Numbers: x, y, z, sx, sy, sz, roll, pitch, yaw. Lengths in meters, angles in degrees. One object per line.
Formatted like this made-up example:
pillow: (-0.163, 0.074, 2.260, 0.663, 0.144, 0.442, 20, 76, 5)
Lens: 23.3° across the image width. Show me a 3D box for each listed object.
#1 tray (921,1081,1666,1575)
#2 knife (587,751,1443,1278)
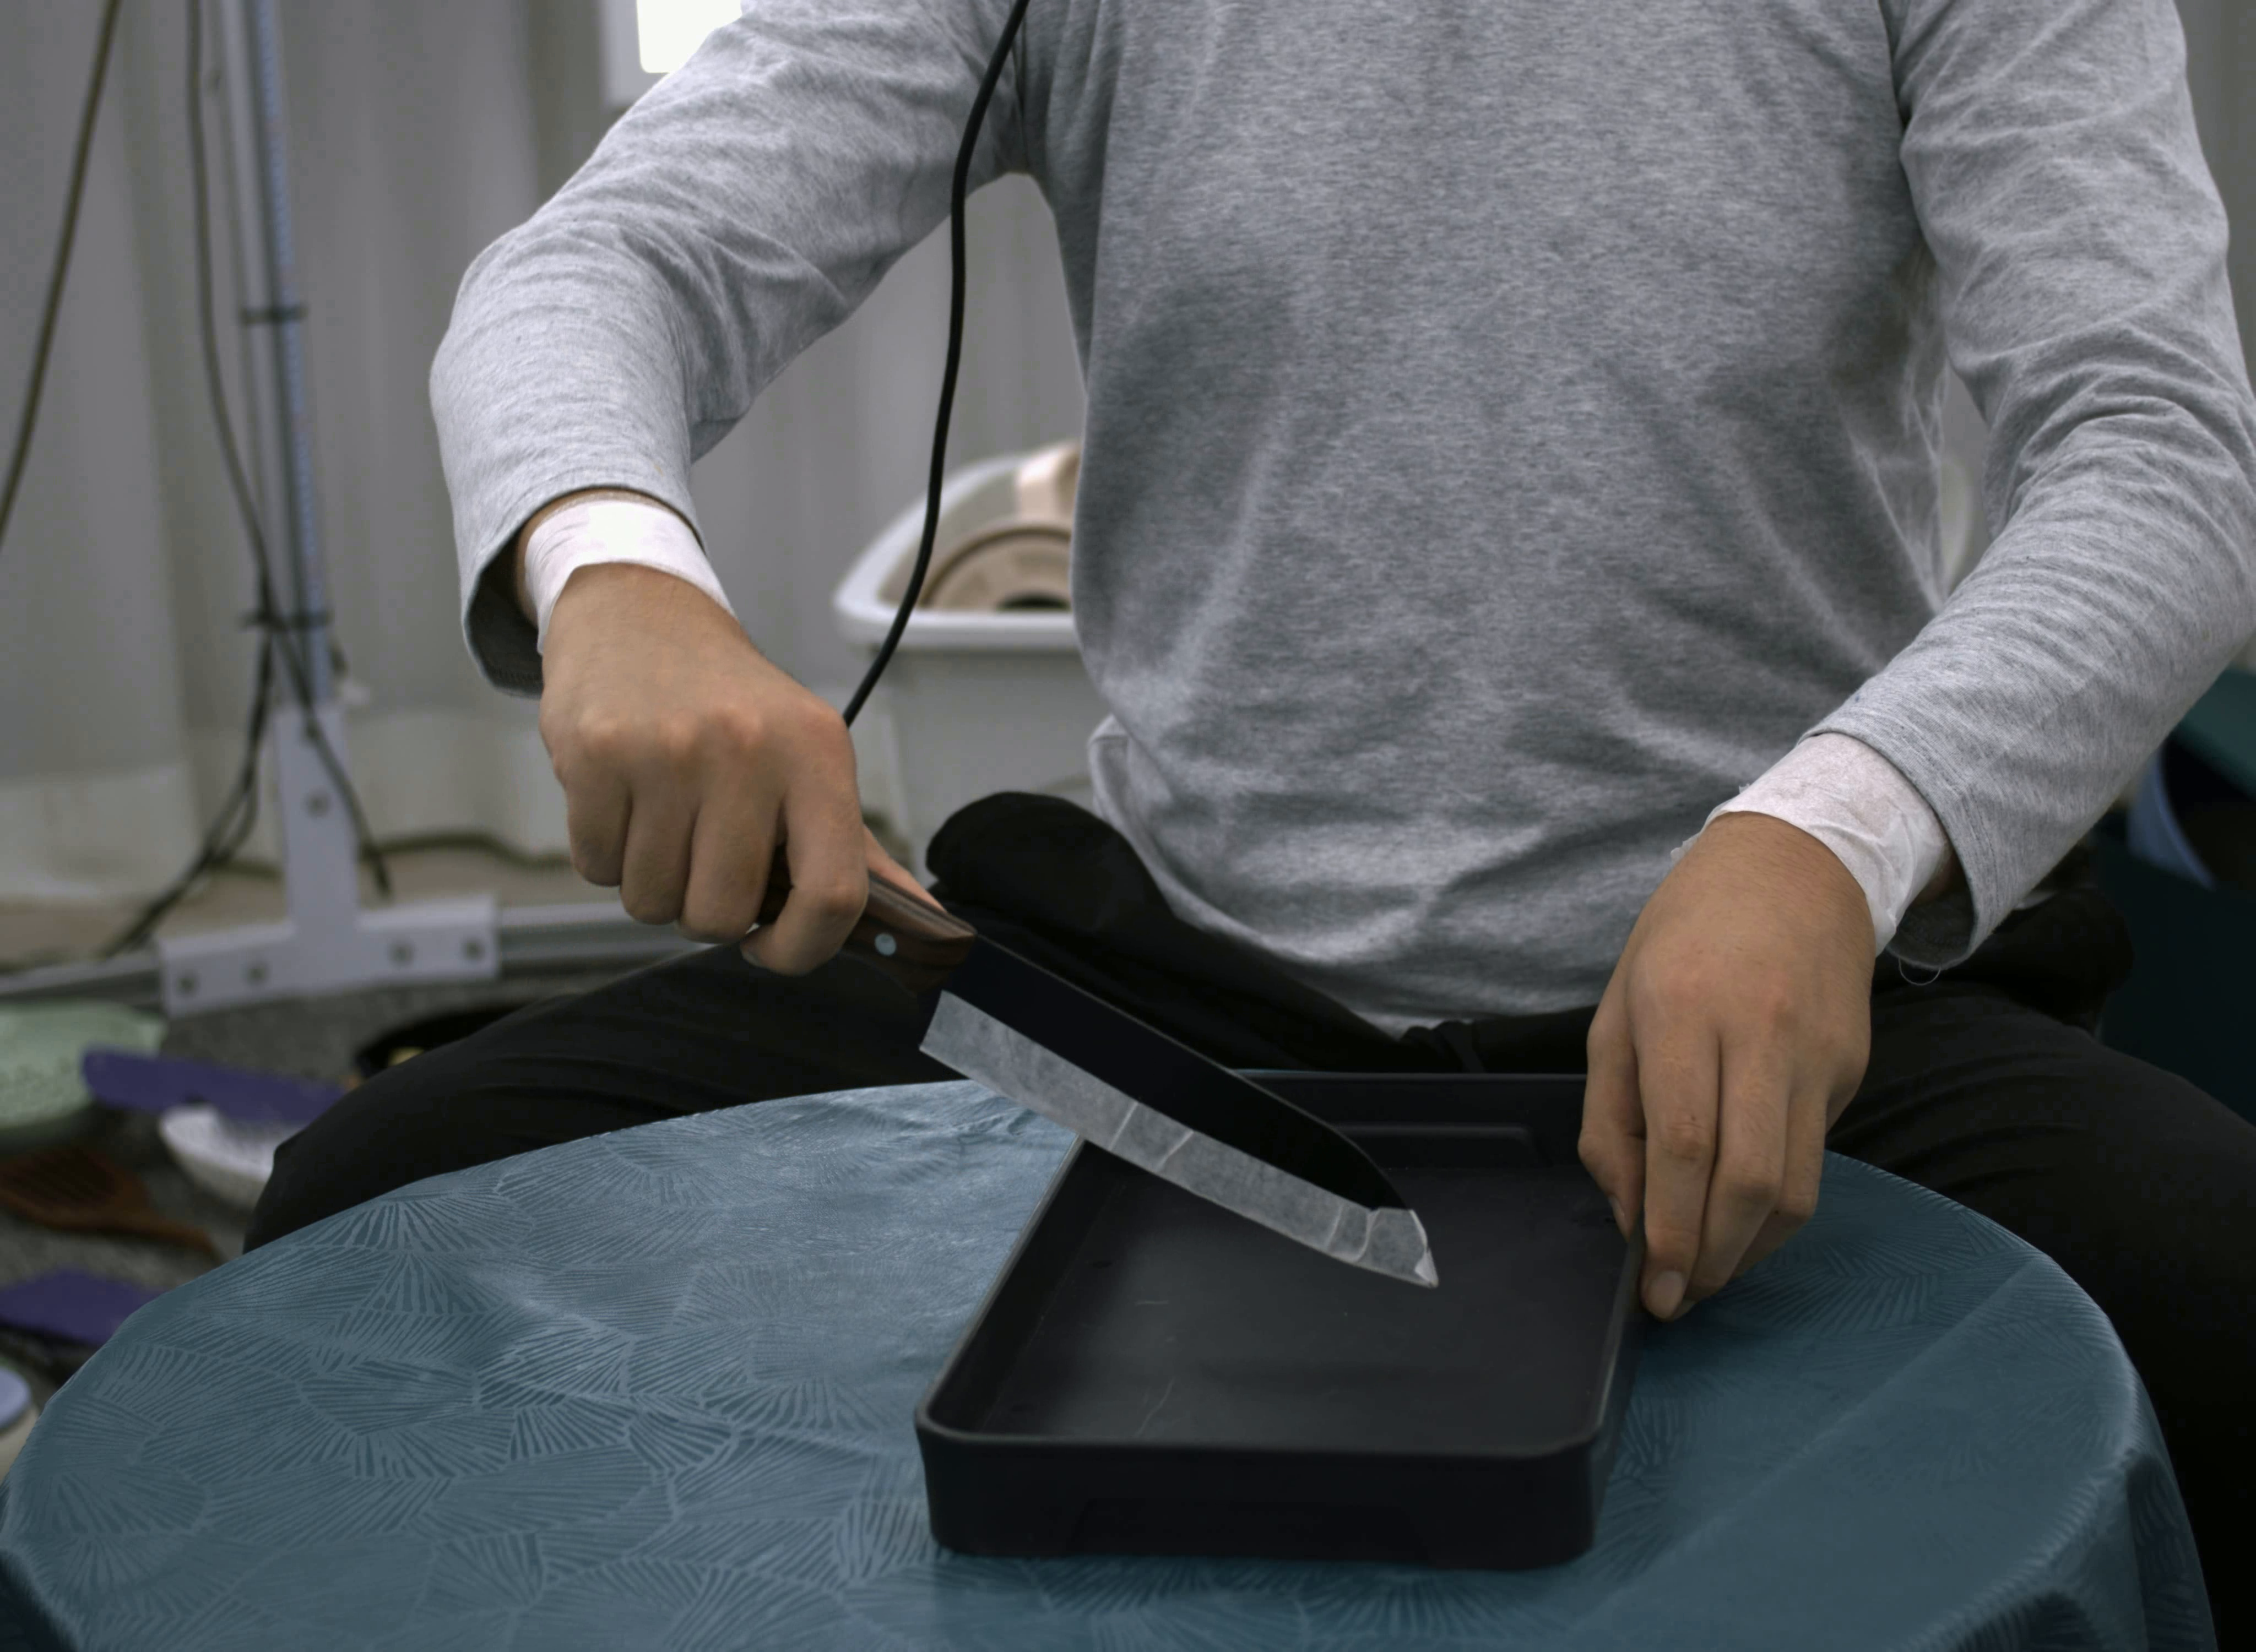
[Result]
tray: (0.056, 0.137, 1.557, 0.184, 0.037, 0.319, 0, 14, 9)
knife: (-0.033, 0.054, 1.571, 0.290, 0.050, 0.020, 30, 32, 12)
